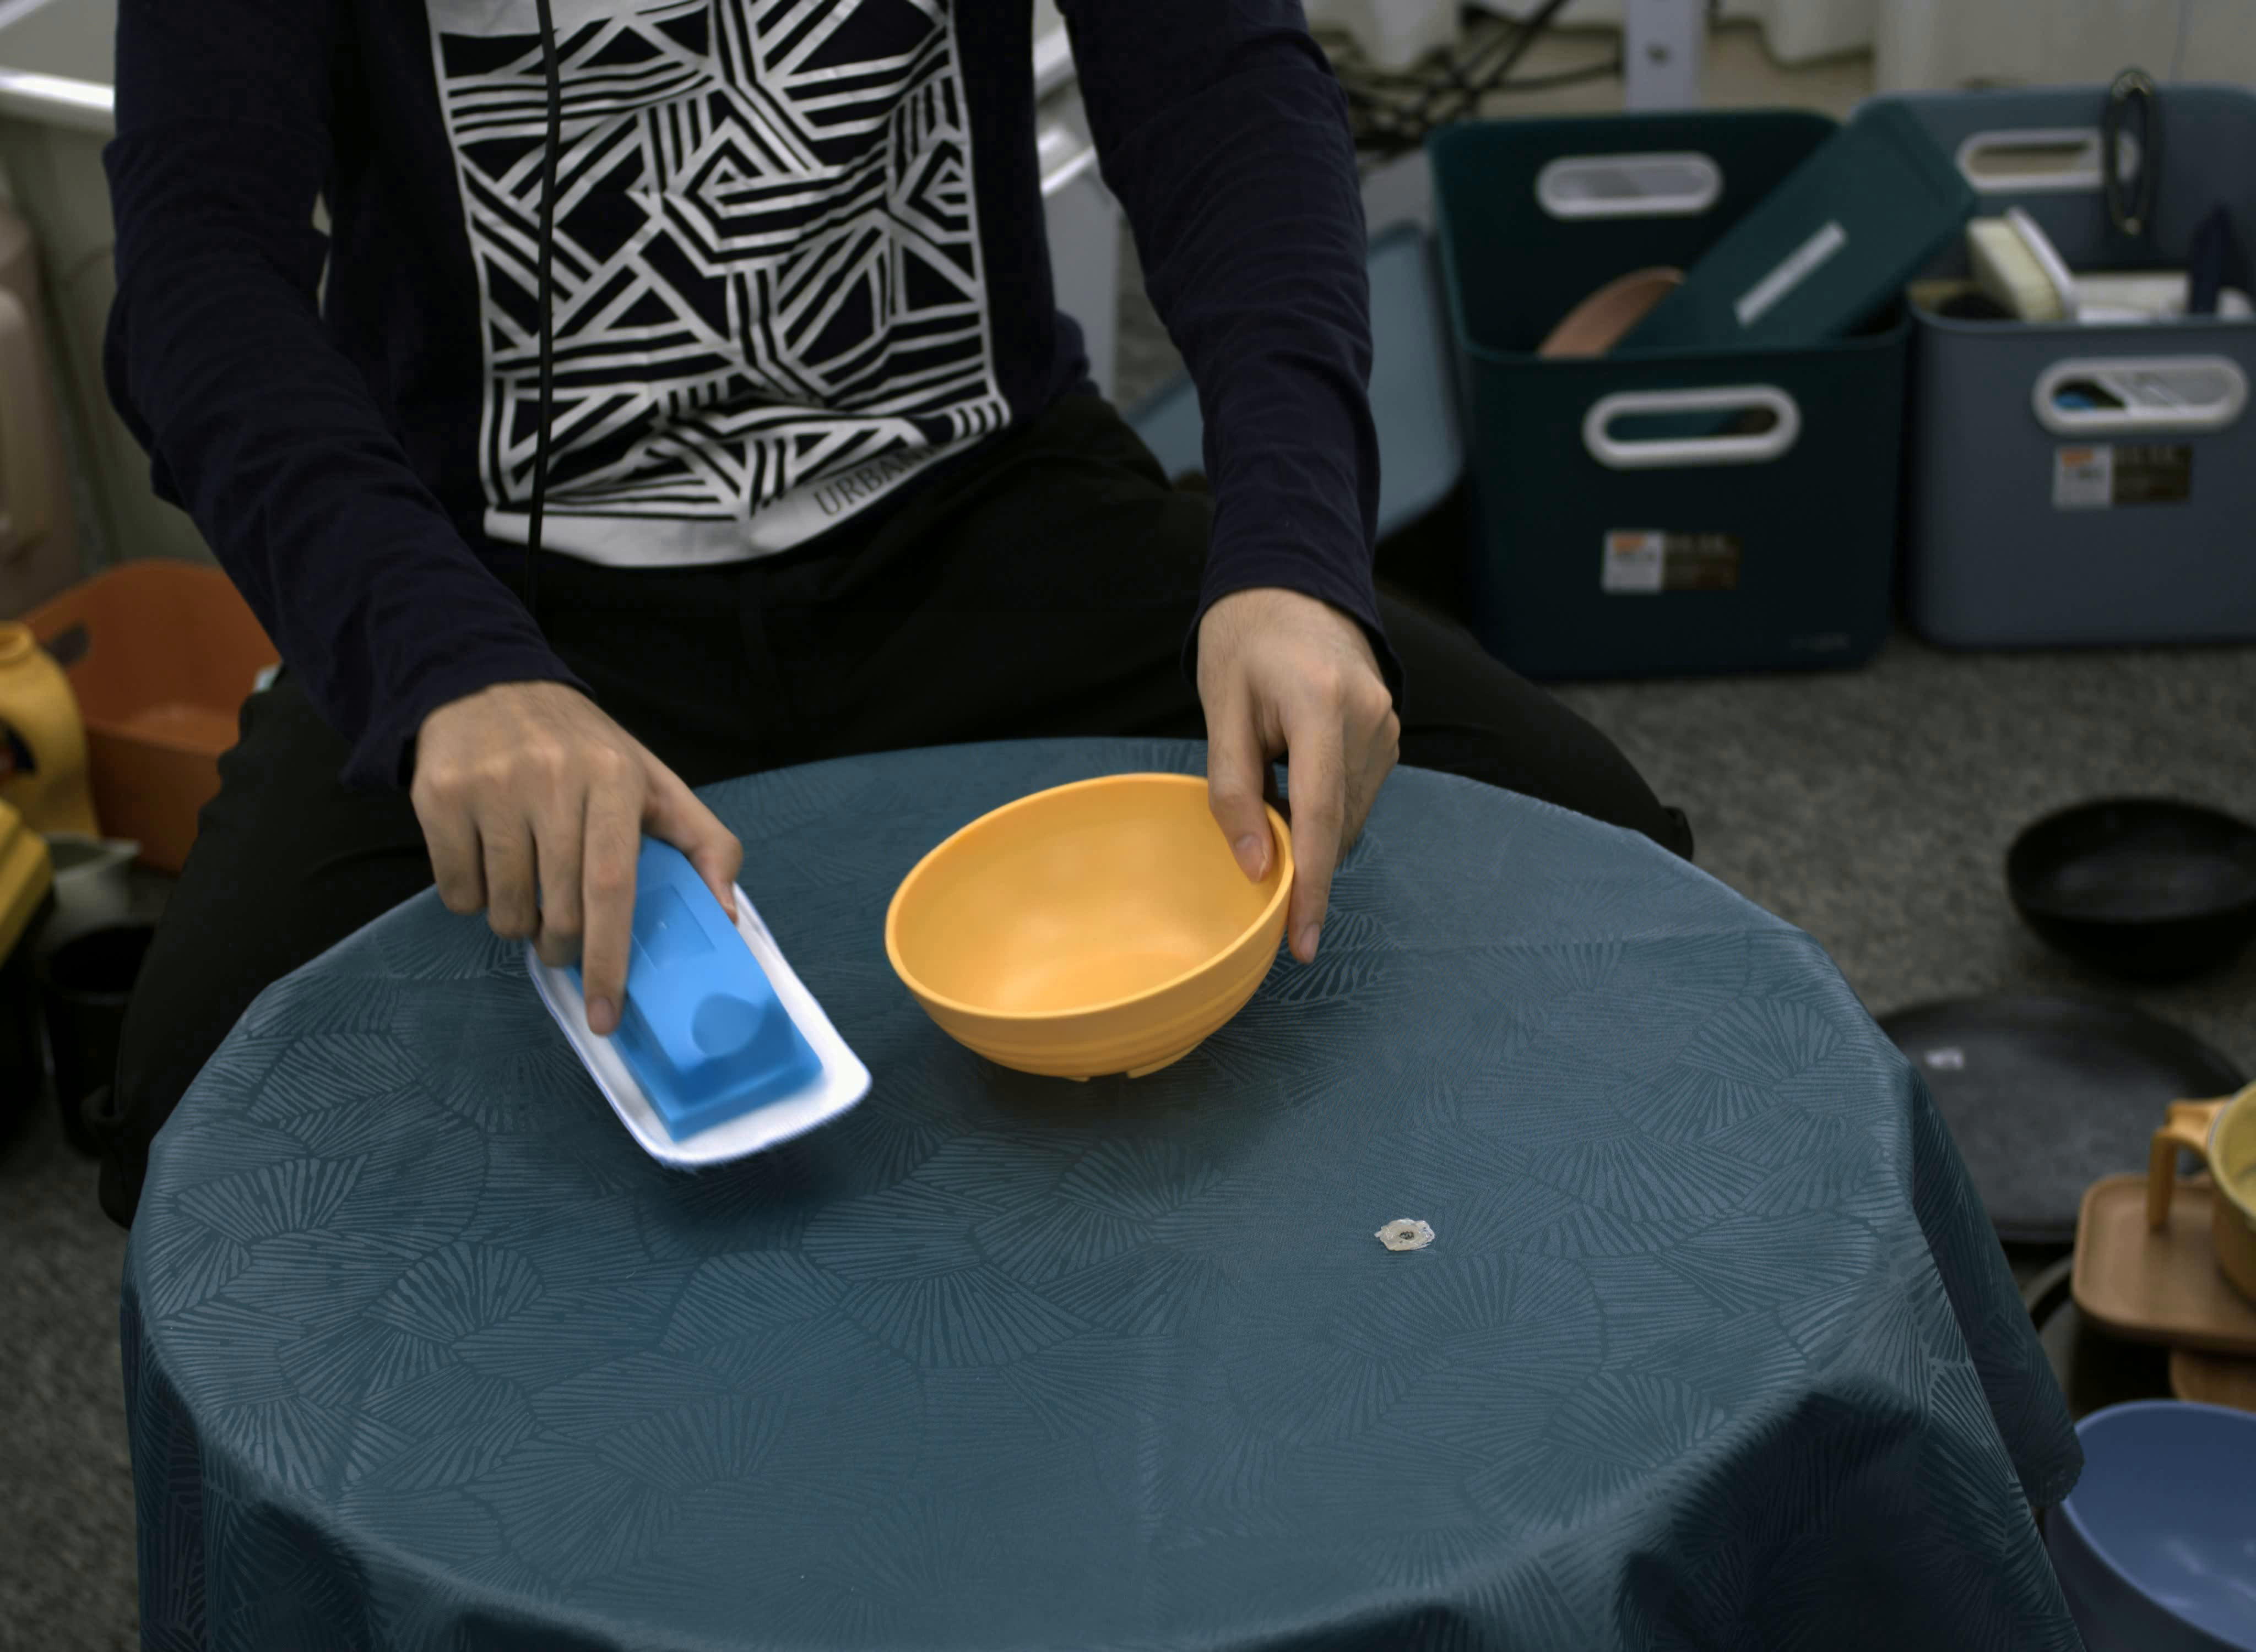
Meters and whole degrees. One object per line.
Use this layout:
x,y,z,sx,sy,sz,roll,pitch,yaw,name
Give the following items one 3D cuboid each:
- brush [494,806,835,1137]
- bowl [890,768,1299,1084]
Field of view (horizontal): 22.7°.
-0.156,0.043,1.881,0.084,0.055,0.145,-16,41,-18,brush
-0.006,0.046,1.933,0.144,0.059,0.148,-9,33,7,bowl
